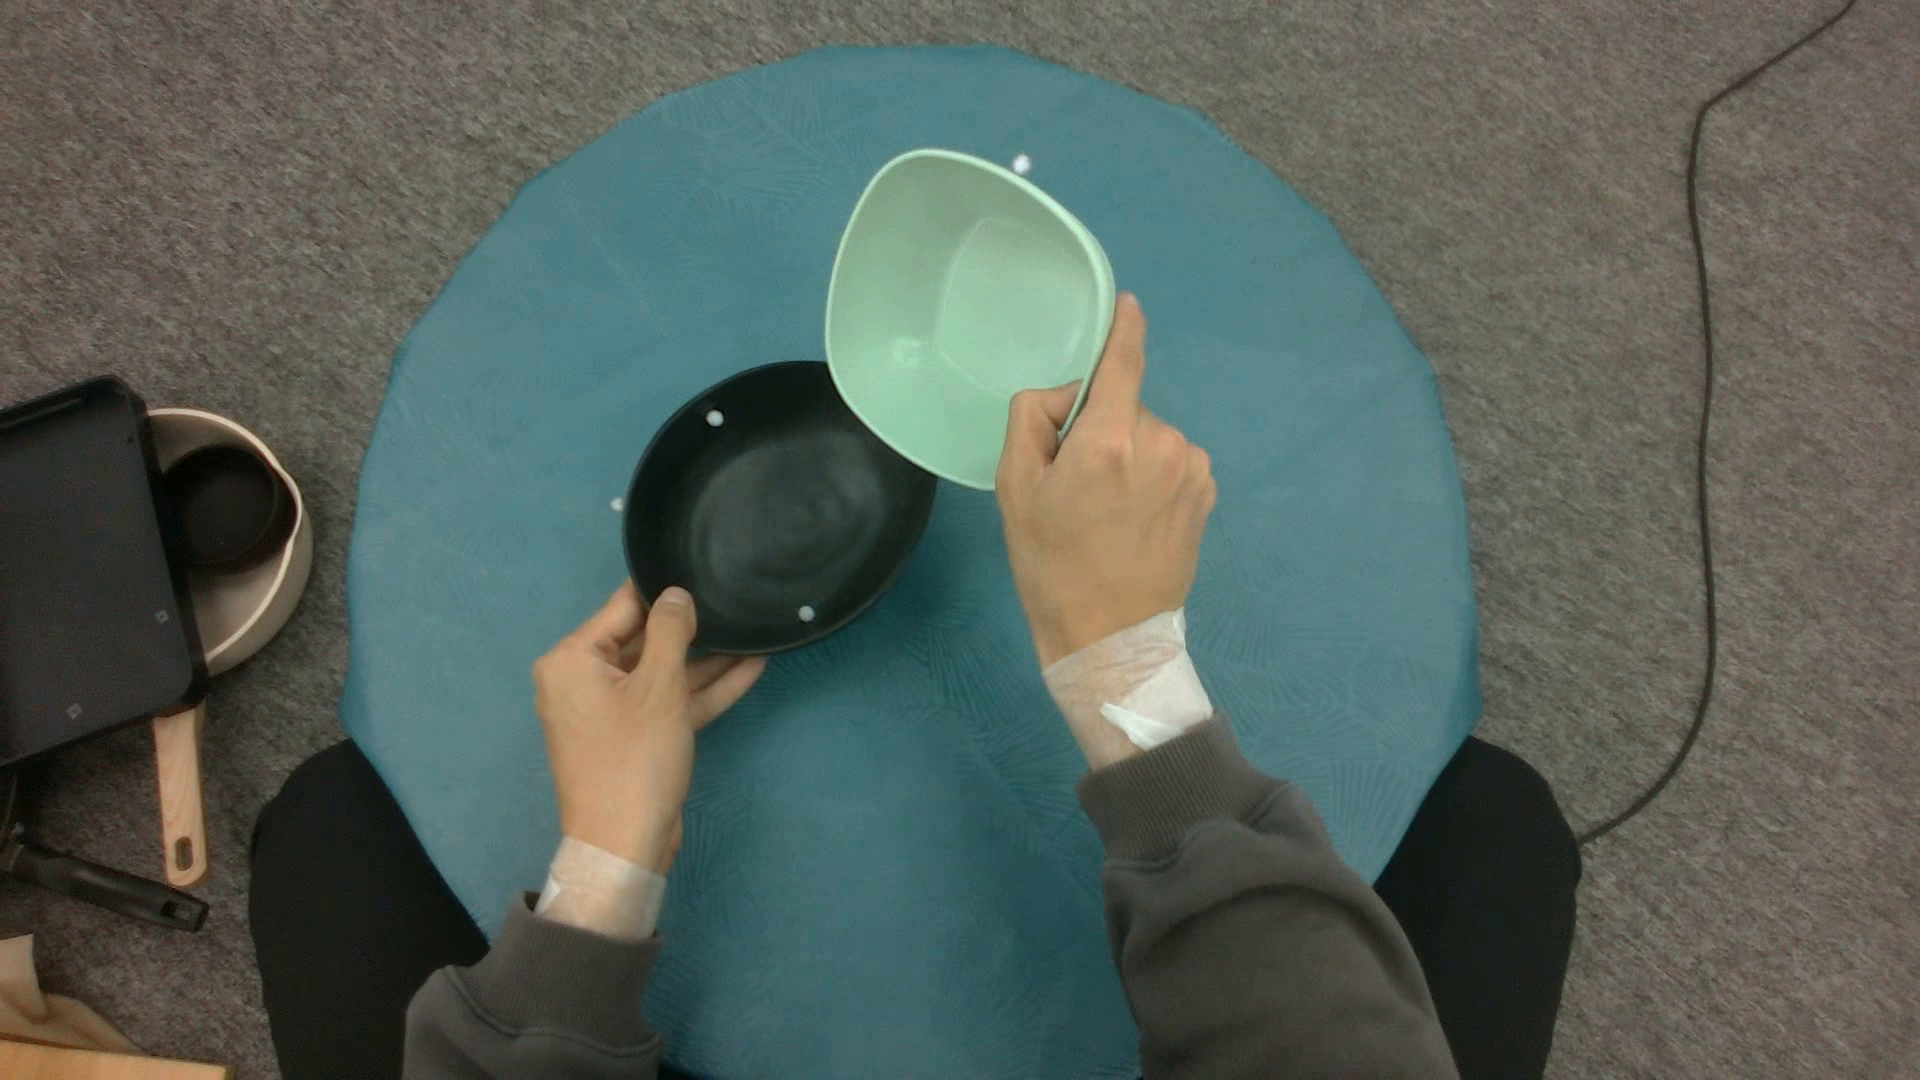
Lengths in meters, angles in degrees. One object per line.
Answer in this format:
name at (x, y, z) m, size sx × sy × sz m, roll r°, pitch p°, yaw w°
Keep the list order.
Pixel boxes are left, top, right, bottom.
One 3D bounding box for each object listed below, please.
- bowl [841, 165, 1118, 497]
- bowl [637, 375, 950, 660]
bowl at (0.017, -0.099, 0.636) m, size 0.059 × 0.150 × 0.151 m, roll -21°, pitch 68°, yaw -50°
bowl at (-0.083, -0.009, 0.712) m, size 0.137 × 0.066 × 0.171 m, roll 43°, pitch 73°, yaw 9°
